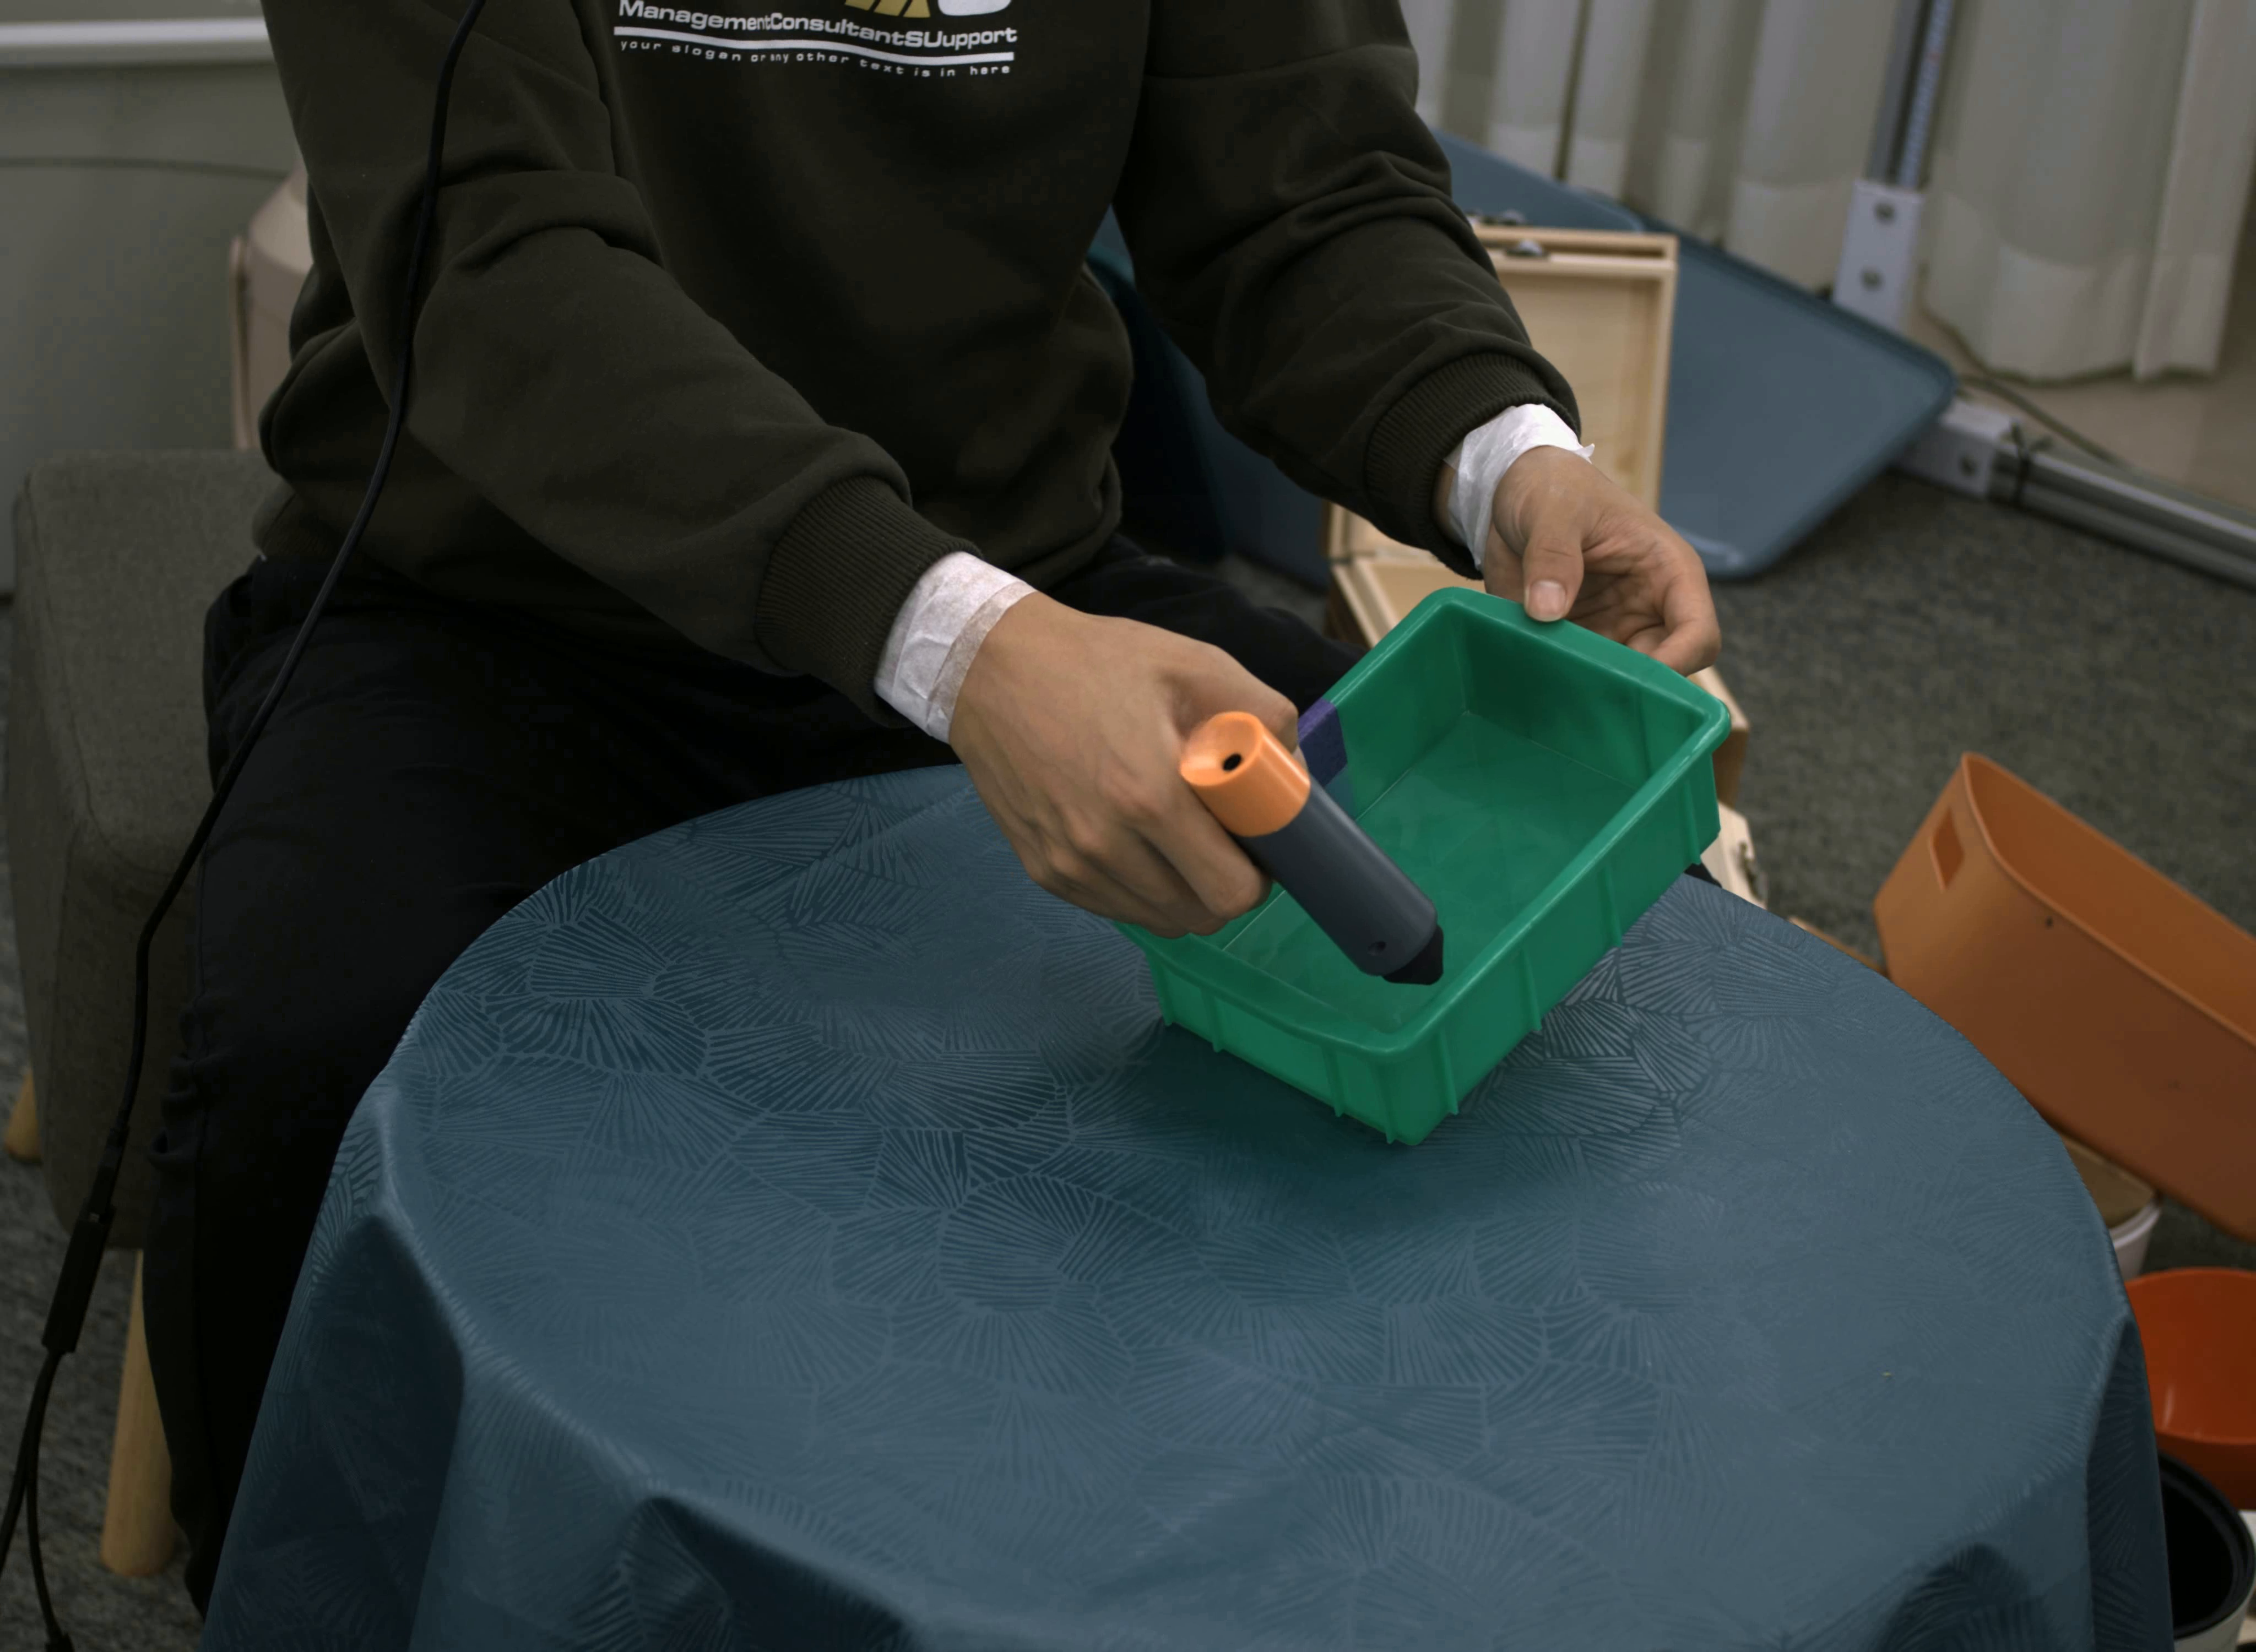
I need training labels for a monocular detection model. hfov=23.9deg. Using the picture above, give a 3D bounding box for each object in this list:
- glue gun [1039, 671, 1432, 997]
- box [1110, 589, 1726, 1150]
[{"bbox_3d":[0.039,0.001,1.839,0.041,0.117,0.141,-46,41,-19],"label":"glue gun"},{"bbox_3d":[0.108,0.017,1.907,0.139,0.065,0.210,24,57,34],"label":"box"}]
